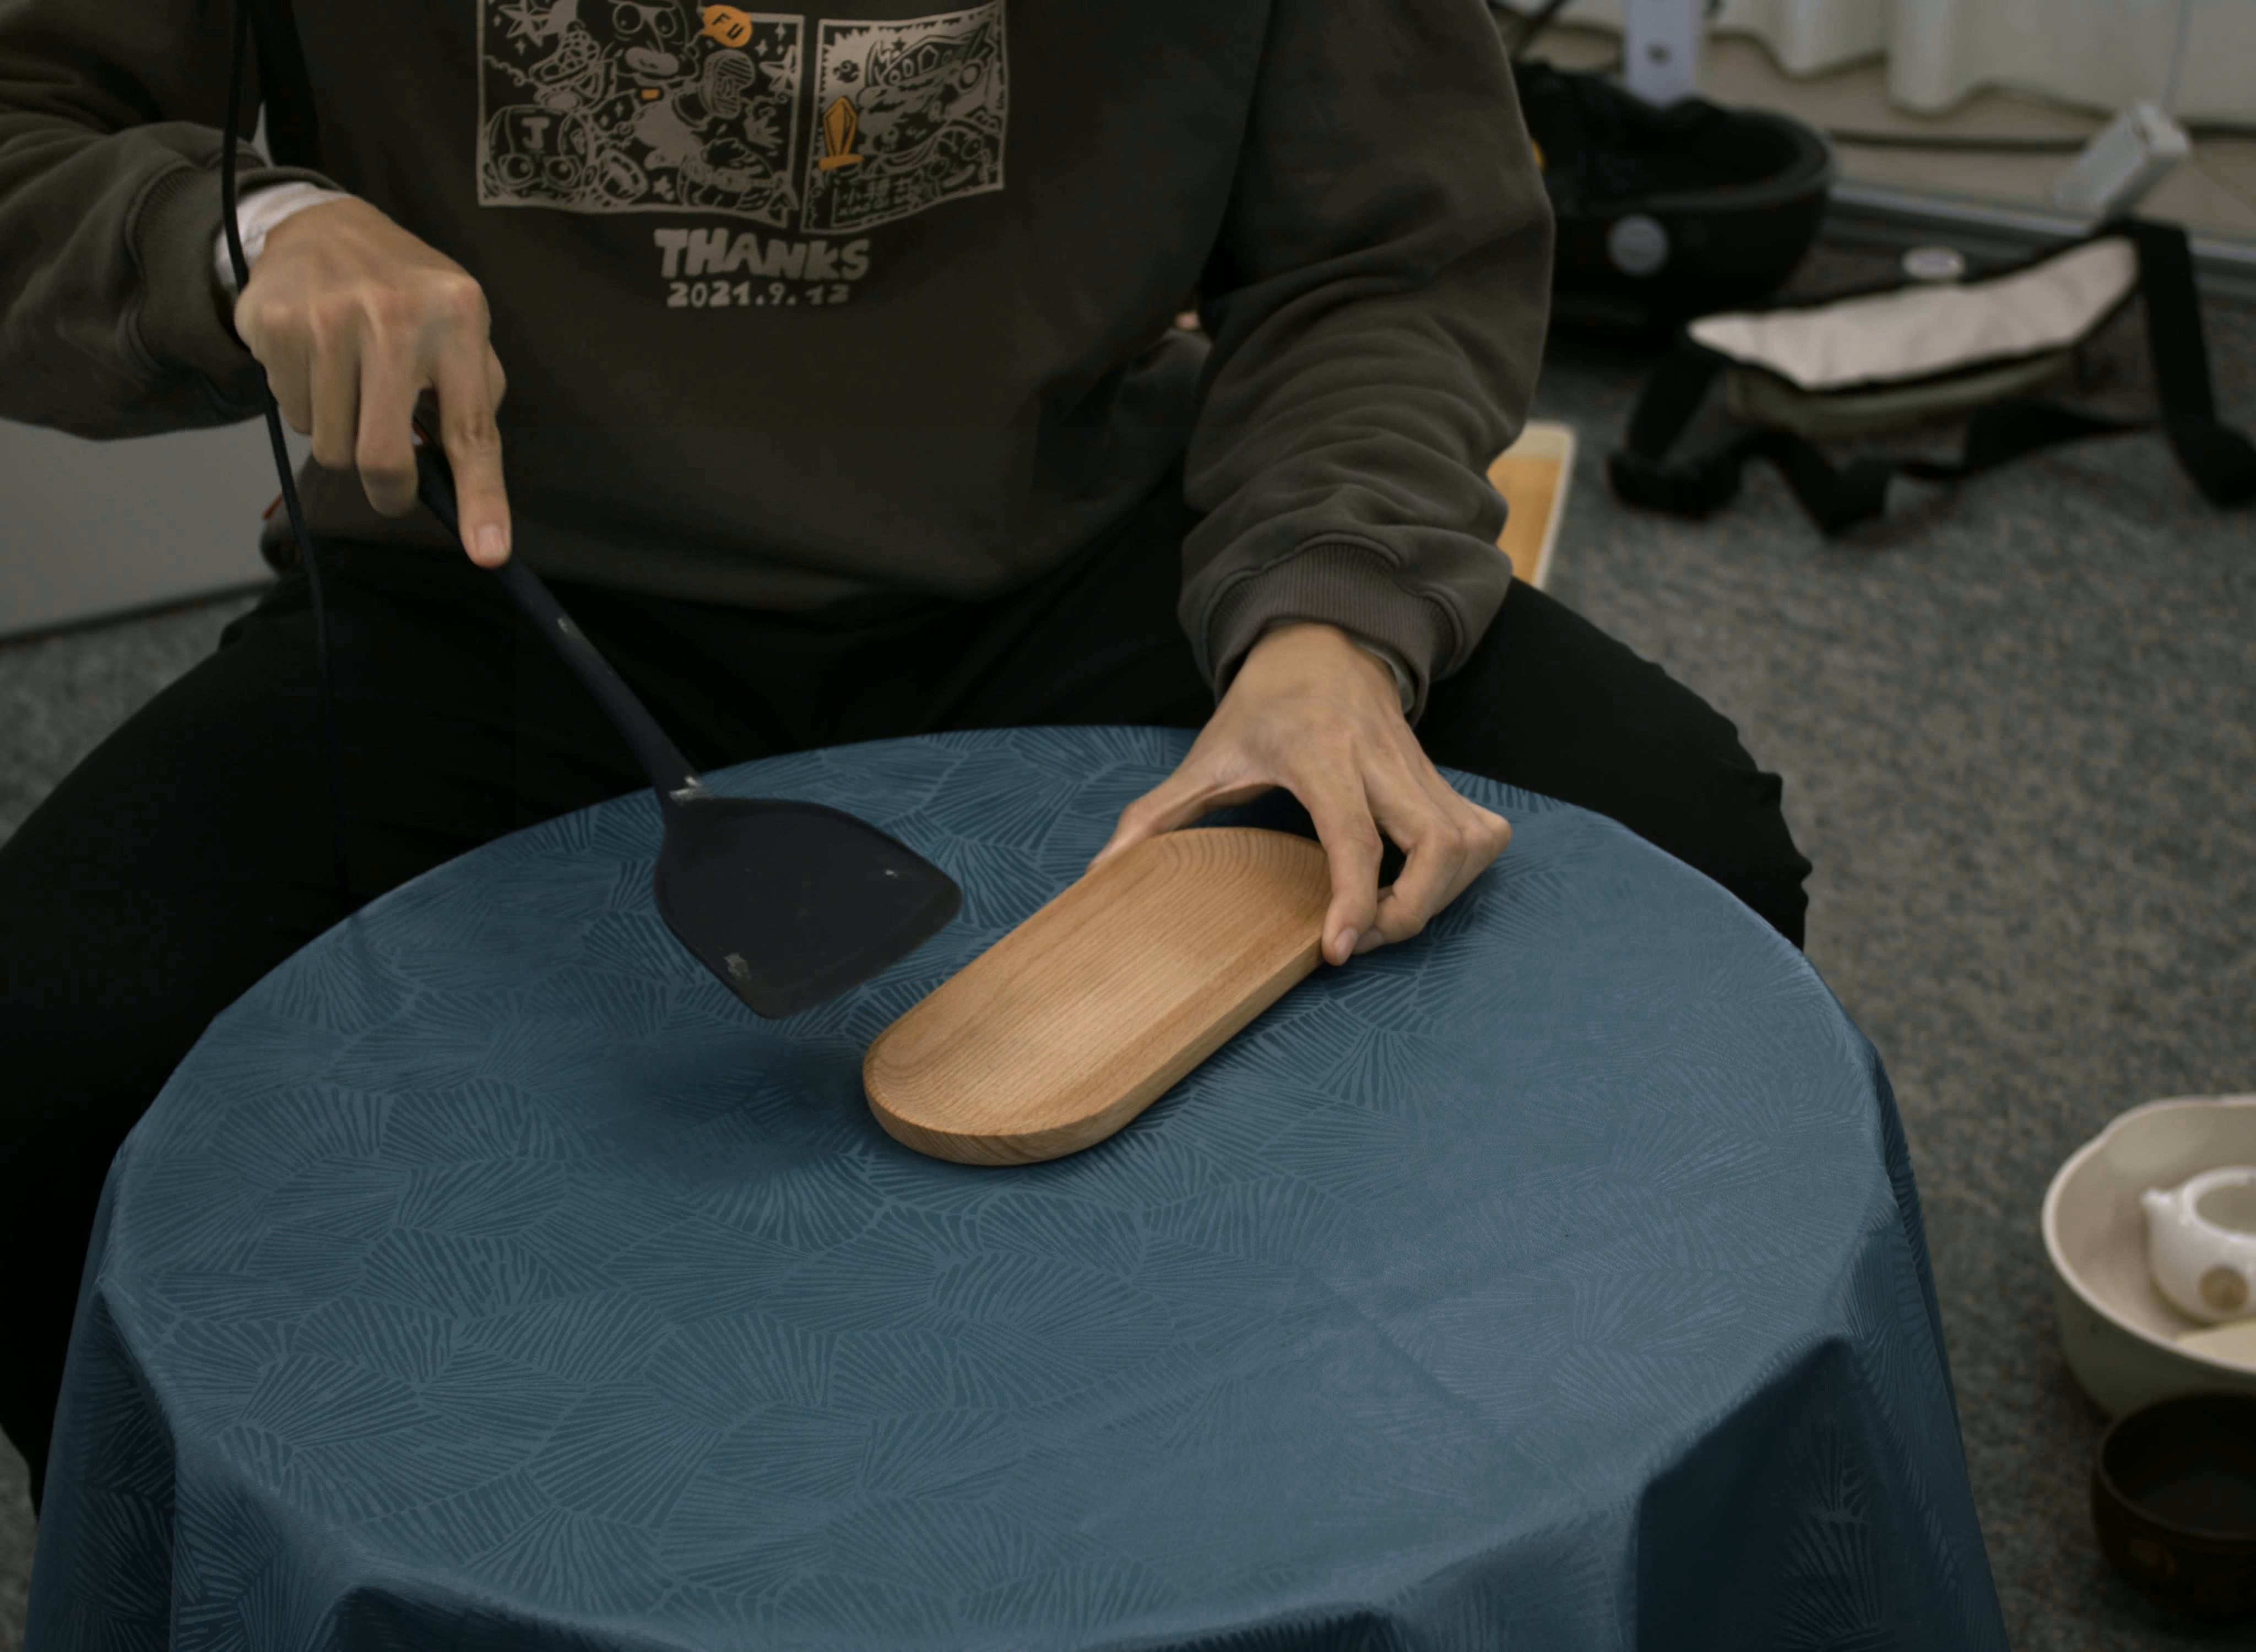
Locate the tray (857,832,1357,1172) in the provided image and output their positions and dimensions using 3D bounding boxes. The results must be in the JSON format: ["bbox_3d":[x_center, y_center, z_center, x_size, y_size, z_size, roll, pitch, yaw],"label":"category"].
[{"bbox_3d":[-0.005,0.060,1.962,0.101,0.020,0.235,13,33,31],"label":"tray"}]

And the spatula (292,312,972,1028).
[{"bbox_3d":[-0.187,-0.063,1.948,0.101,0.039,0.327,-30,75,-37],"label":"spatula"}]
